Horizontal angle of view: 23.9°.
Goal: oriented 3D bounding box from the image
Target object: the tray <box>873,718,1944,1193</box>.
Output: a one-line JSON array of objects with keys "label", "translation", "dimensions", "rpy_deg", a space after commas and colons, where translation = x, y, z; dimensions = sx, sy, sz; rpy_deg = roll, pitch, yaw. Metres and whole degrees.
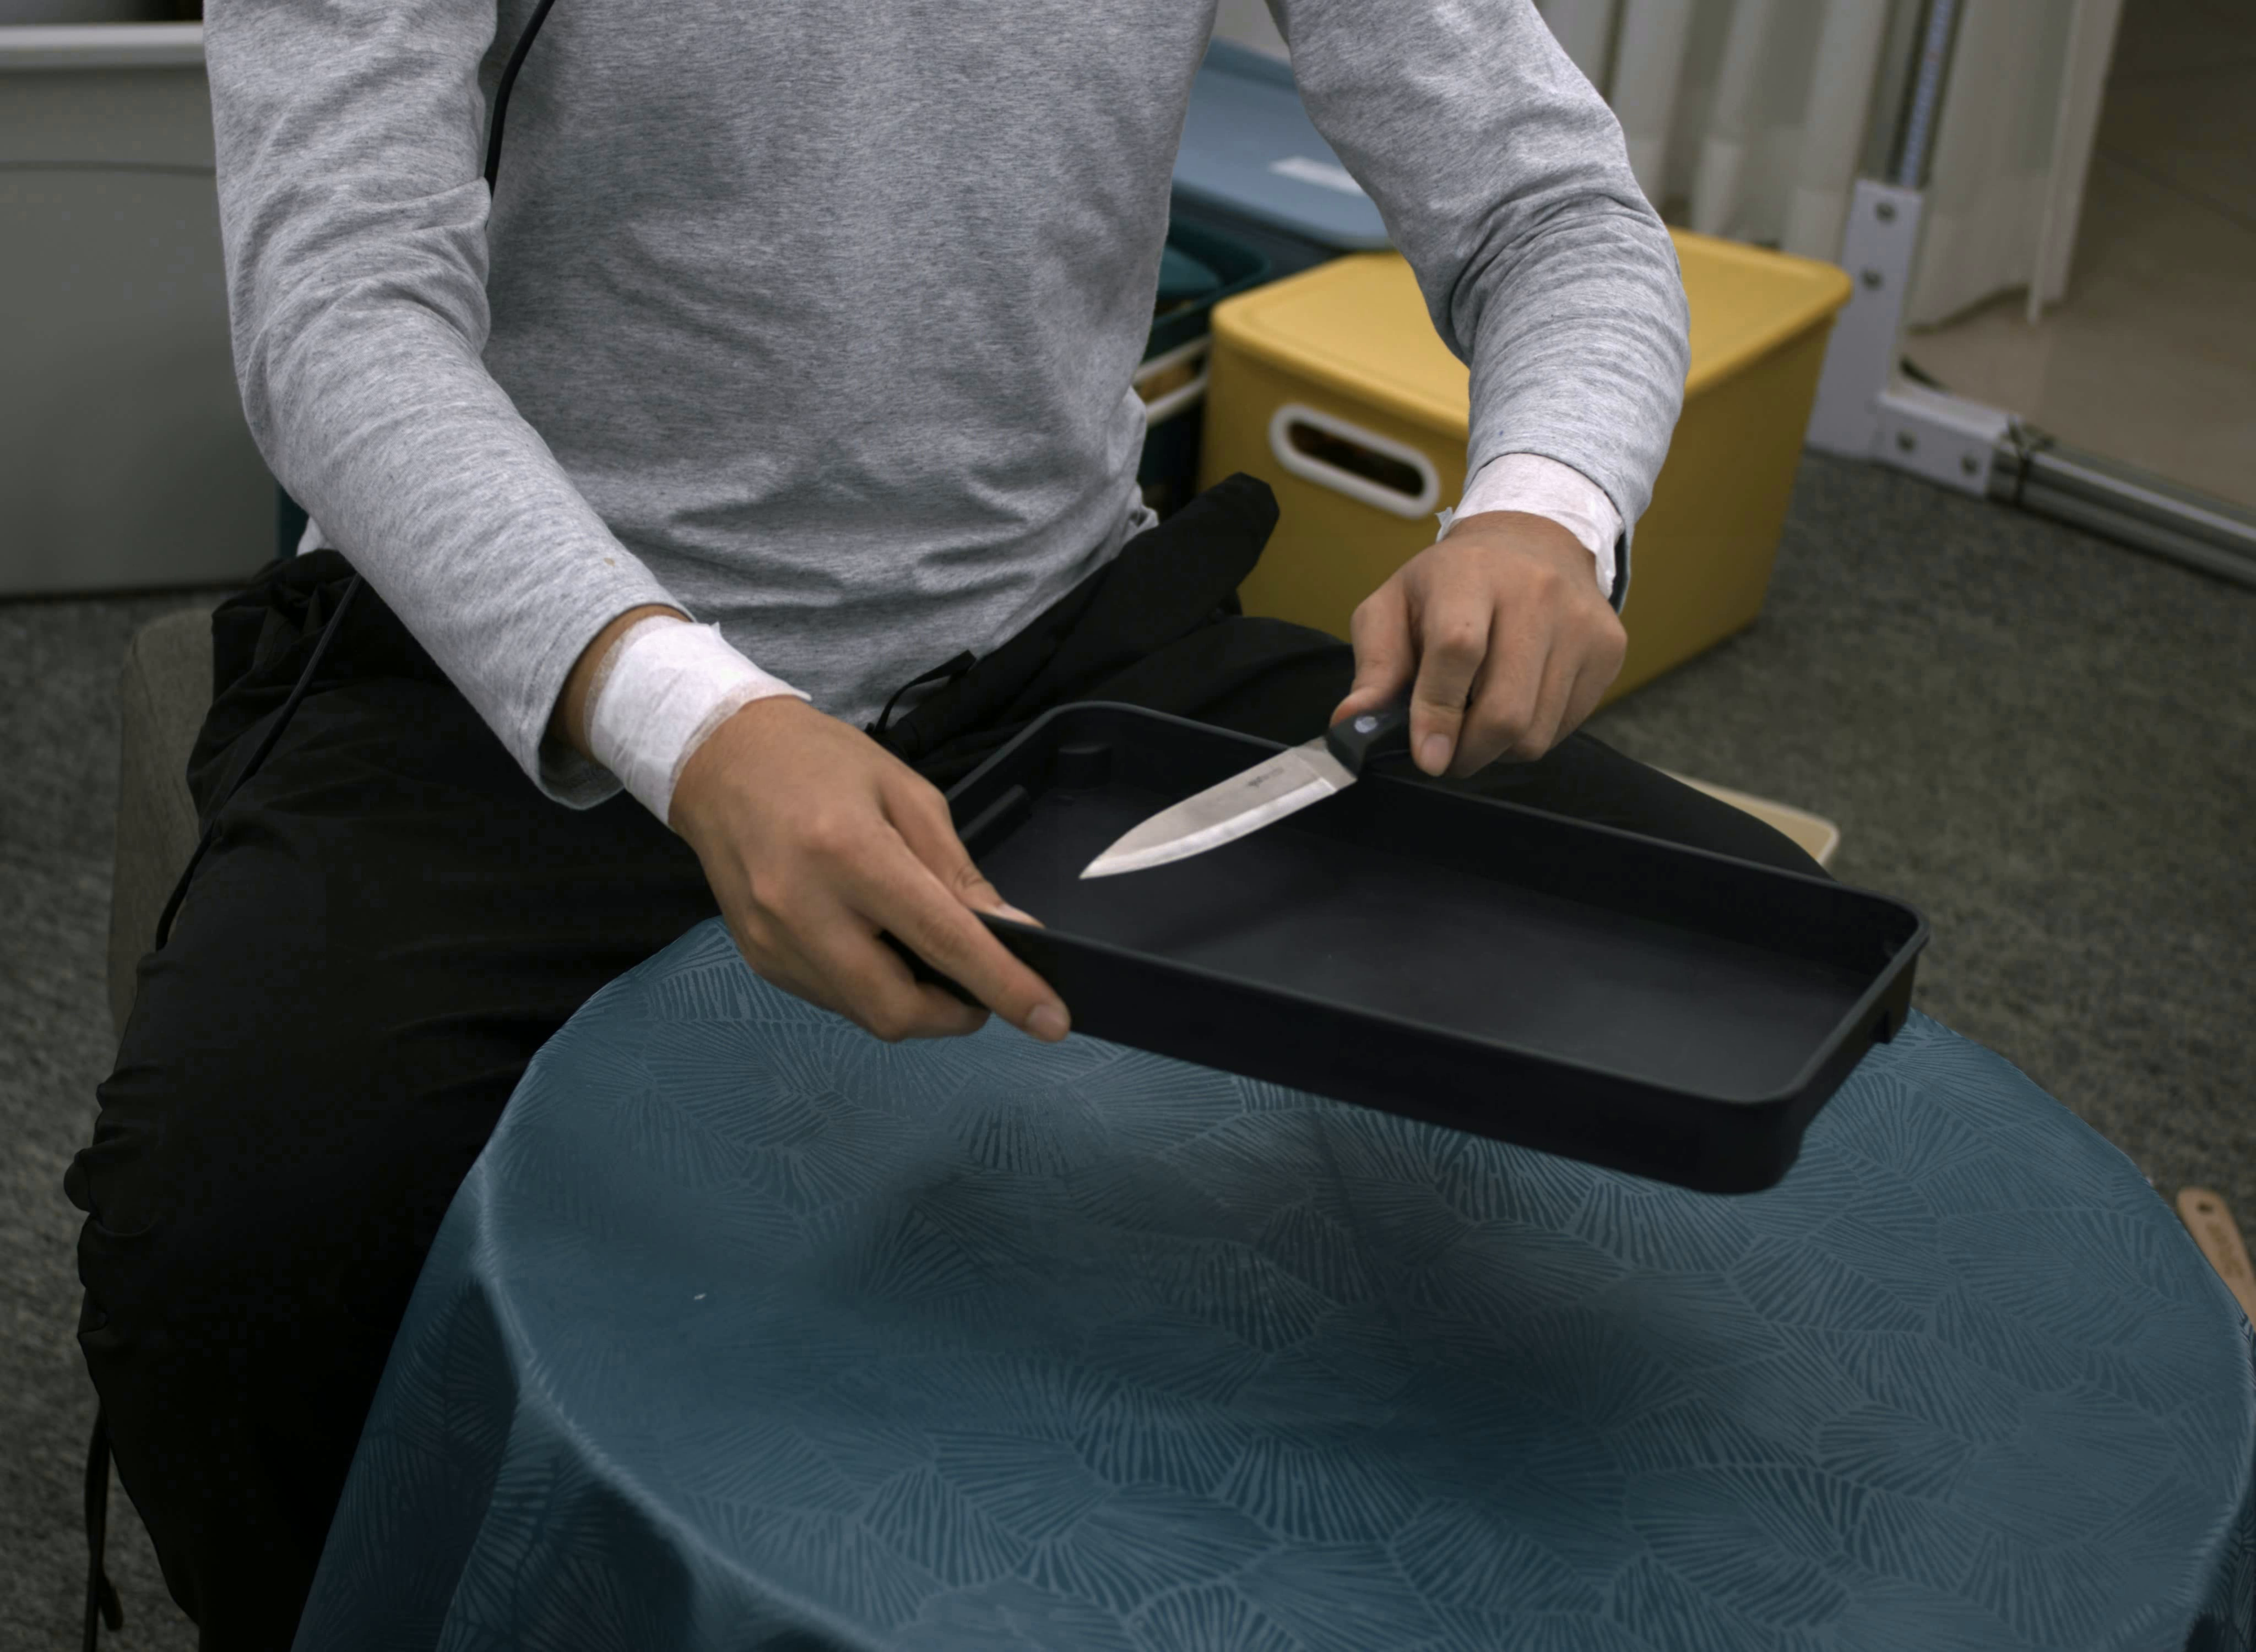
[{"label": "tray", "translation": [0.091, 0.038, 1.726], "dimensions": [0.319, 0.037, 0.184], "rpy_deg": [12, 24, 20]}]

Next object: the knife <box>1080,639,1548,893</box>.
[{"label": "knife", "translation": [0.062, -0.021, 1.795], "dimensions": [0.024, 0.016, 0.237], "rpy_deg": [43, 45, 21]}]
